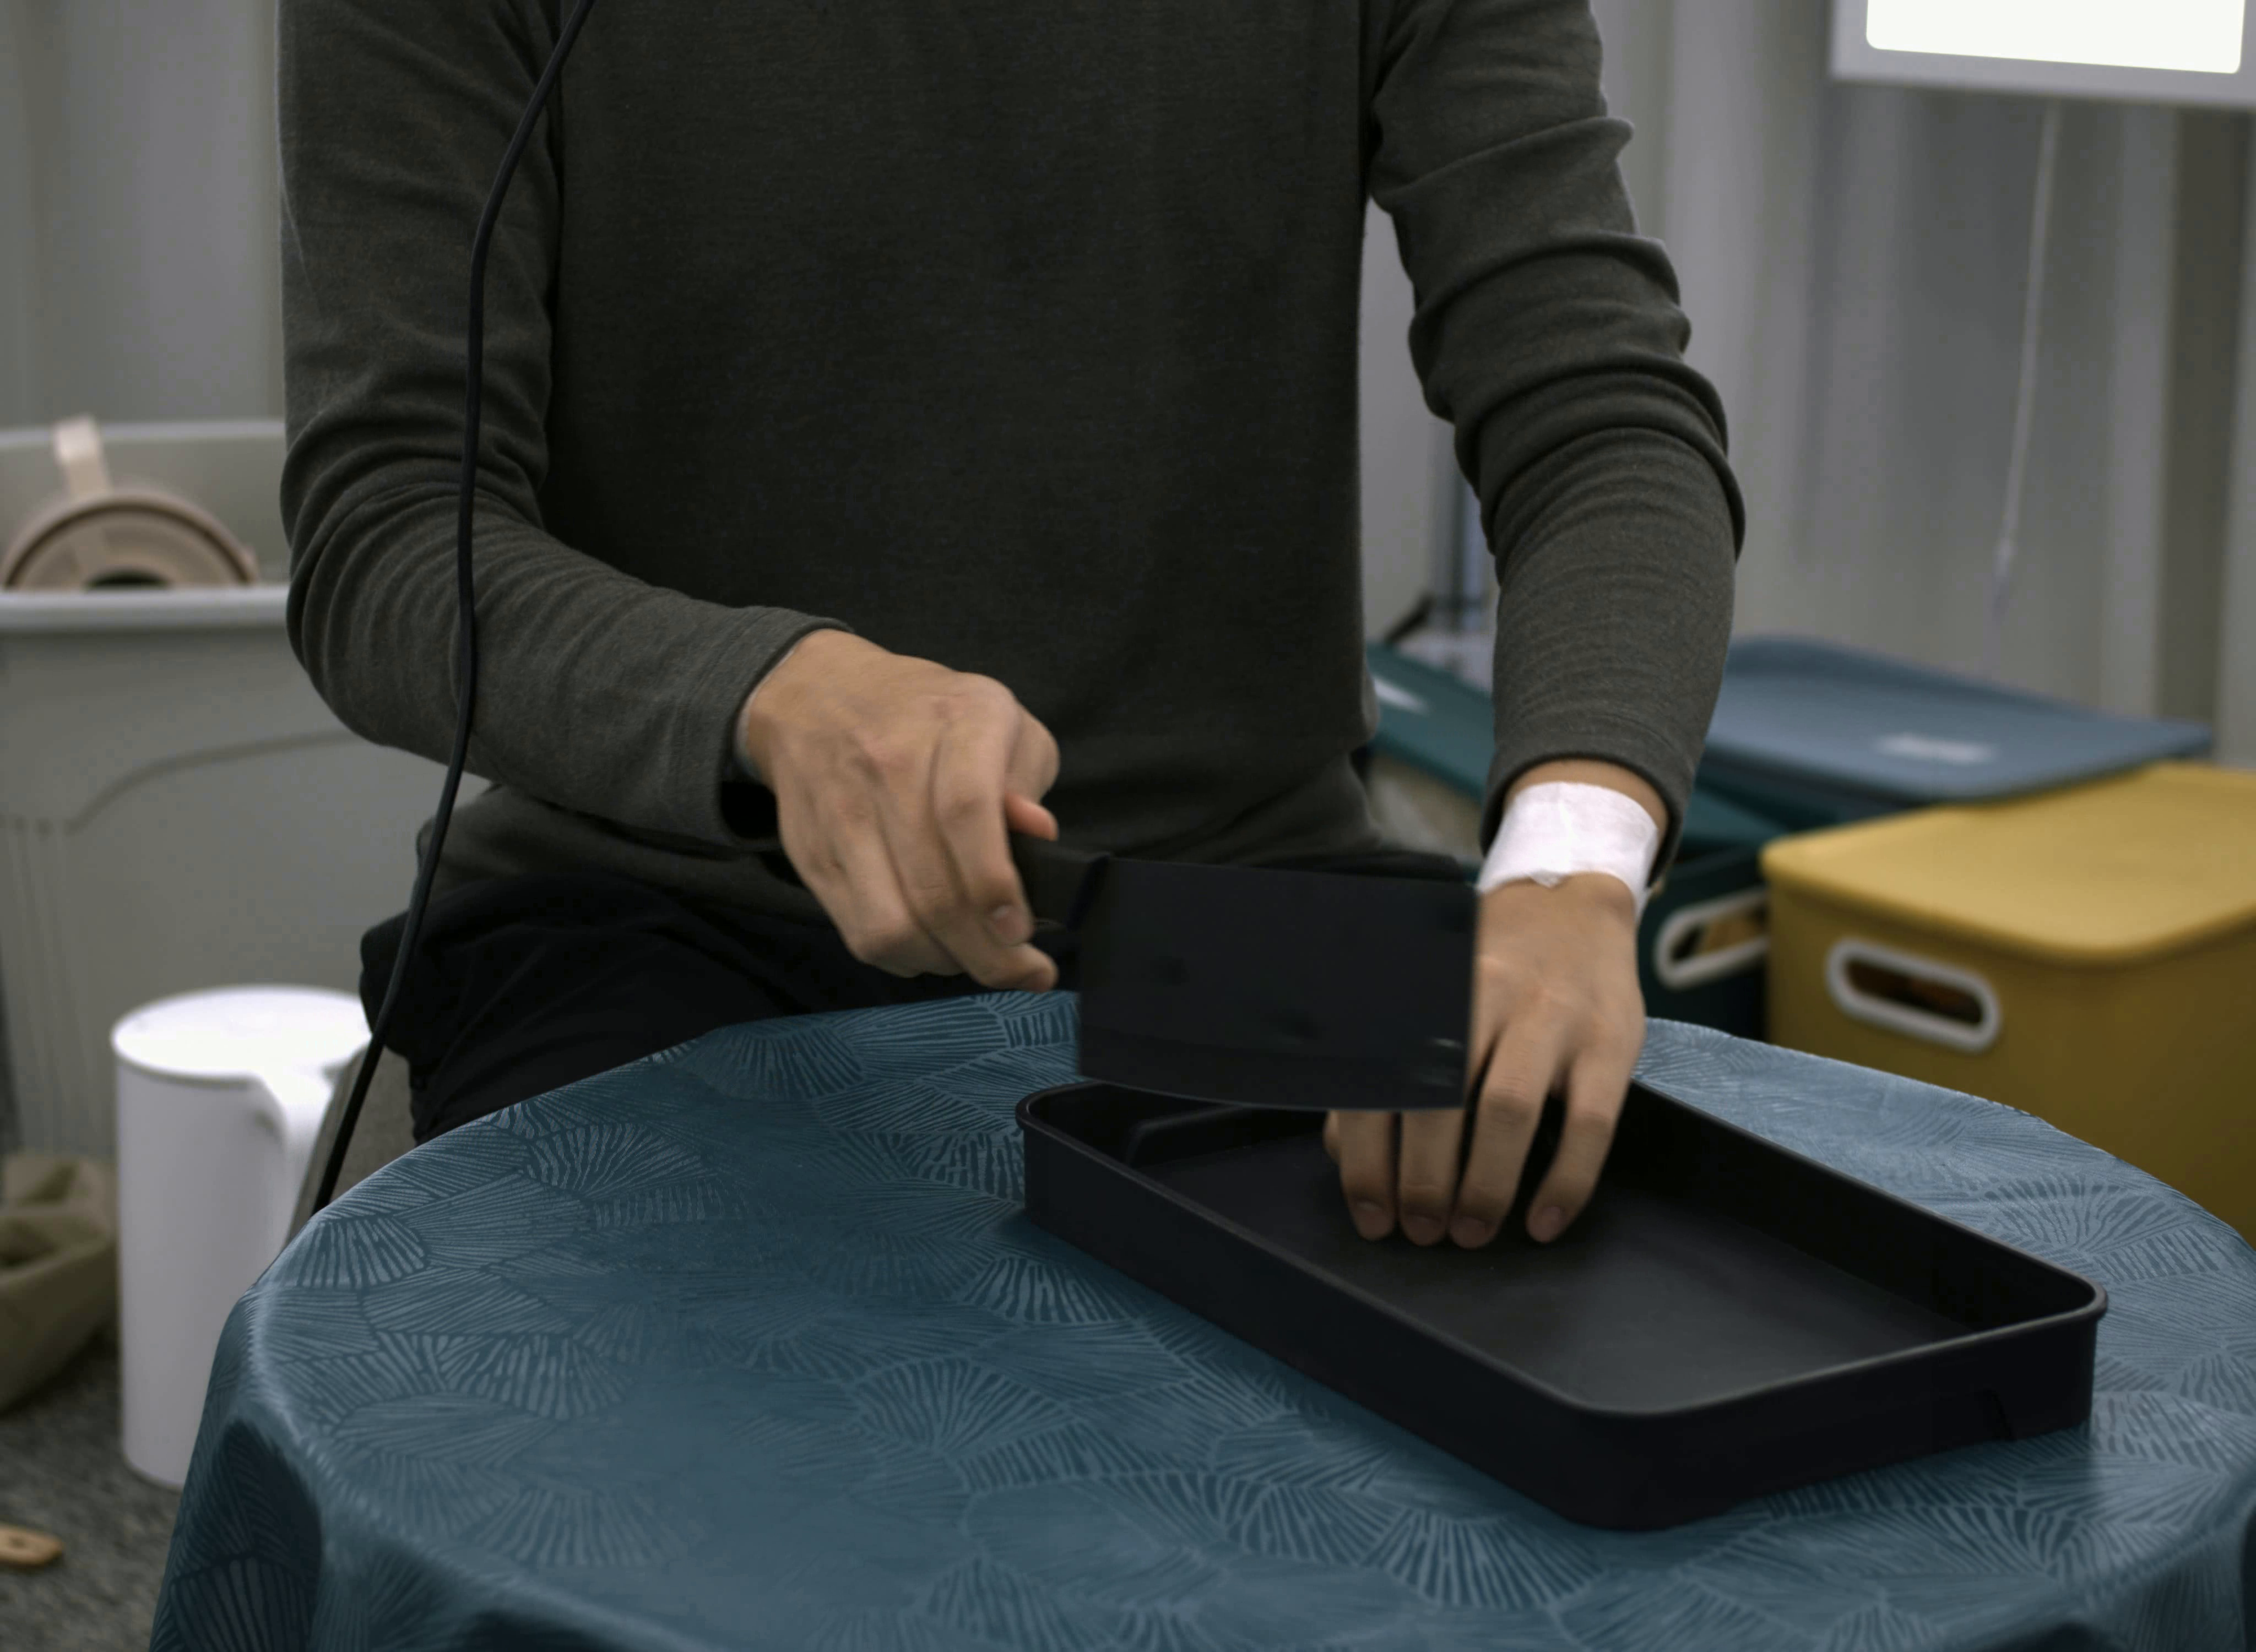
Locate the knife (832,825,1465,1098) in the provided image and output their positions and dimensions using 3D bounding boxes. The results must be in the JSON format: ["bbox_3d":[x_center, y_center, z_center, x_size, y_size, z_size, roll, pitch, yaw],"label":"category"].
[{"bbox_3d":[0.001,0.036,1.508,0.021,0.081,0.298,3,4,-36],"label":"knife"}]

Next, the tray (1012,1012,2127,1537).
[{"bbox_3d":[0.119,0.123,1.523,0.185,0.037,0.314,-9,18,-33],"label":"tray"}]
